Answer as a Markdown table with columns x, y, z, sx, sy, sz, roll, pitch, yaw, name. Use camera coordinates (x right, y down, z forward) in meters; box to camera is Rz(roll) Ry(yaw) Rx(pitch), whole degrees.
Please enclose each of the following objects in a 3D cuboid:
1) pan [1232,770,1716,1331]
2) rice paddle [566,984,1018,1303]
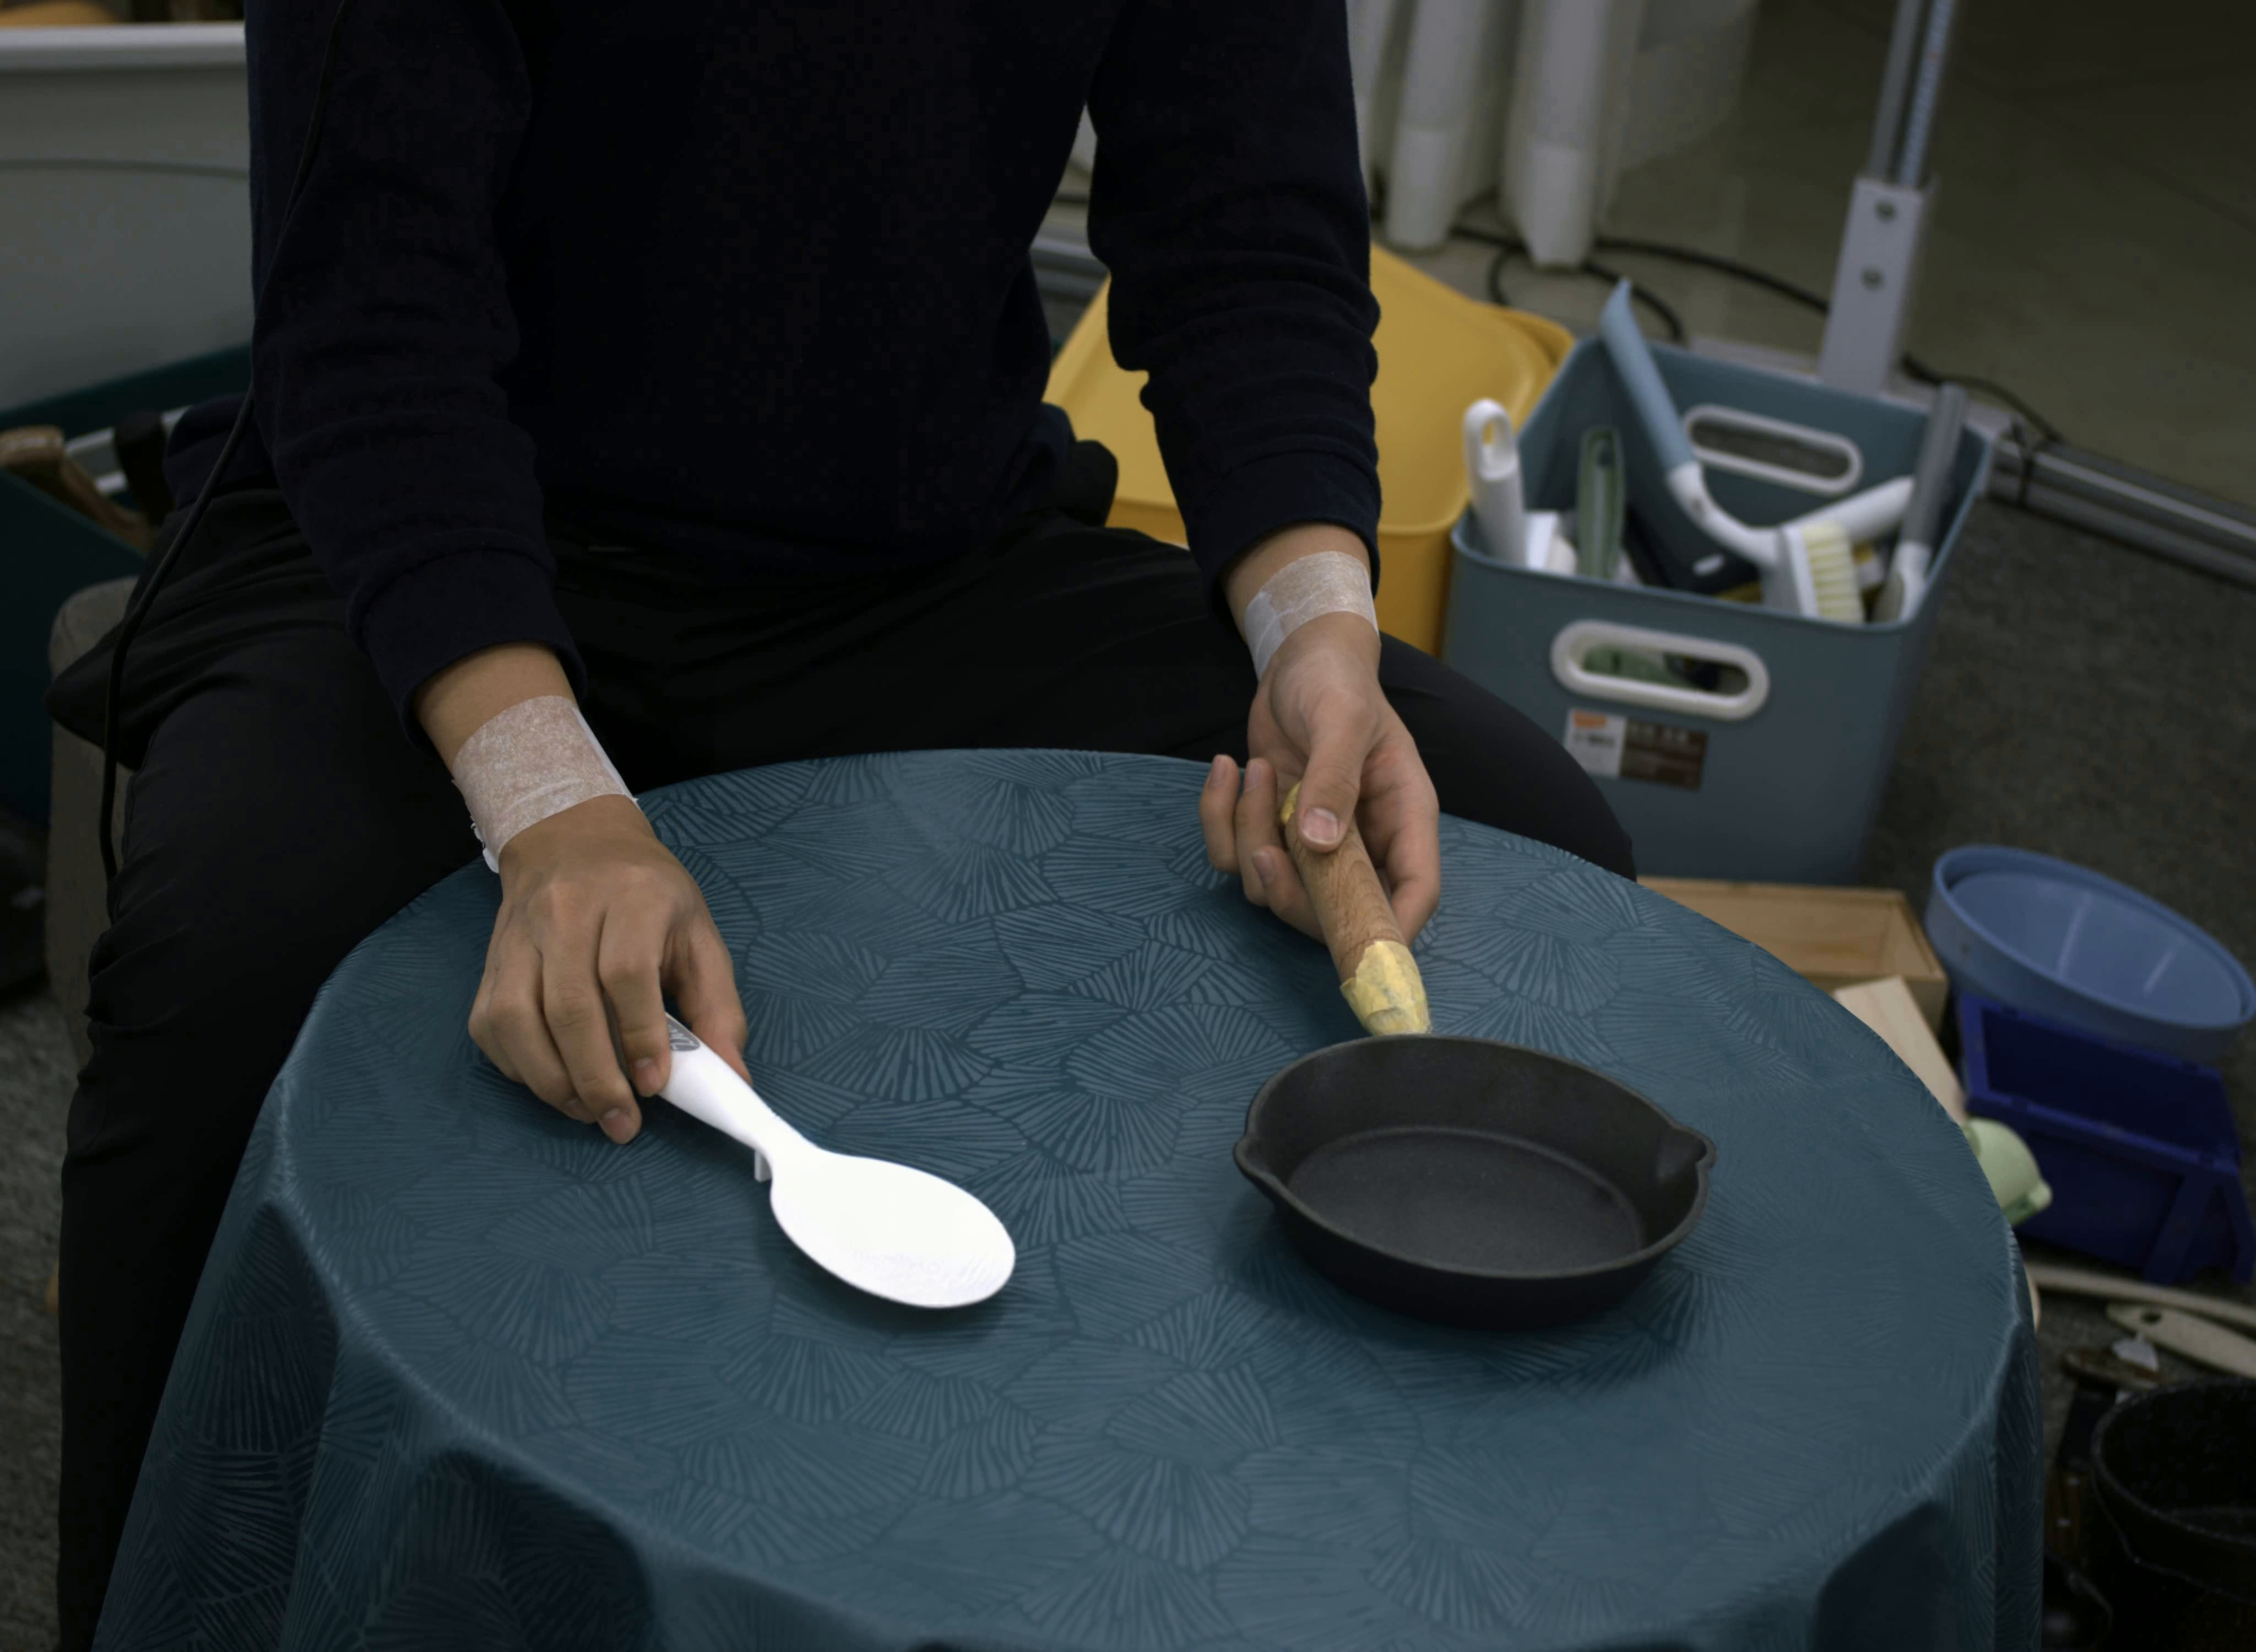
| x | y | z | sx | sy | sz | roll | pitch | yaw | name |
| --- | --- | --- | --- | --- | --- | --- | --- | --- | --- |
| 0.100 | 0.076 | 1.864 | 0.168 | 0.049 | 0.327 | 0 | 29 | -12 | pan |
| -0.114 | 0.108 | 1.777 | 0.068 | 0.029 | 0.207 | -20 | 37 | -38 | rice paddle |
